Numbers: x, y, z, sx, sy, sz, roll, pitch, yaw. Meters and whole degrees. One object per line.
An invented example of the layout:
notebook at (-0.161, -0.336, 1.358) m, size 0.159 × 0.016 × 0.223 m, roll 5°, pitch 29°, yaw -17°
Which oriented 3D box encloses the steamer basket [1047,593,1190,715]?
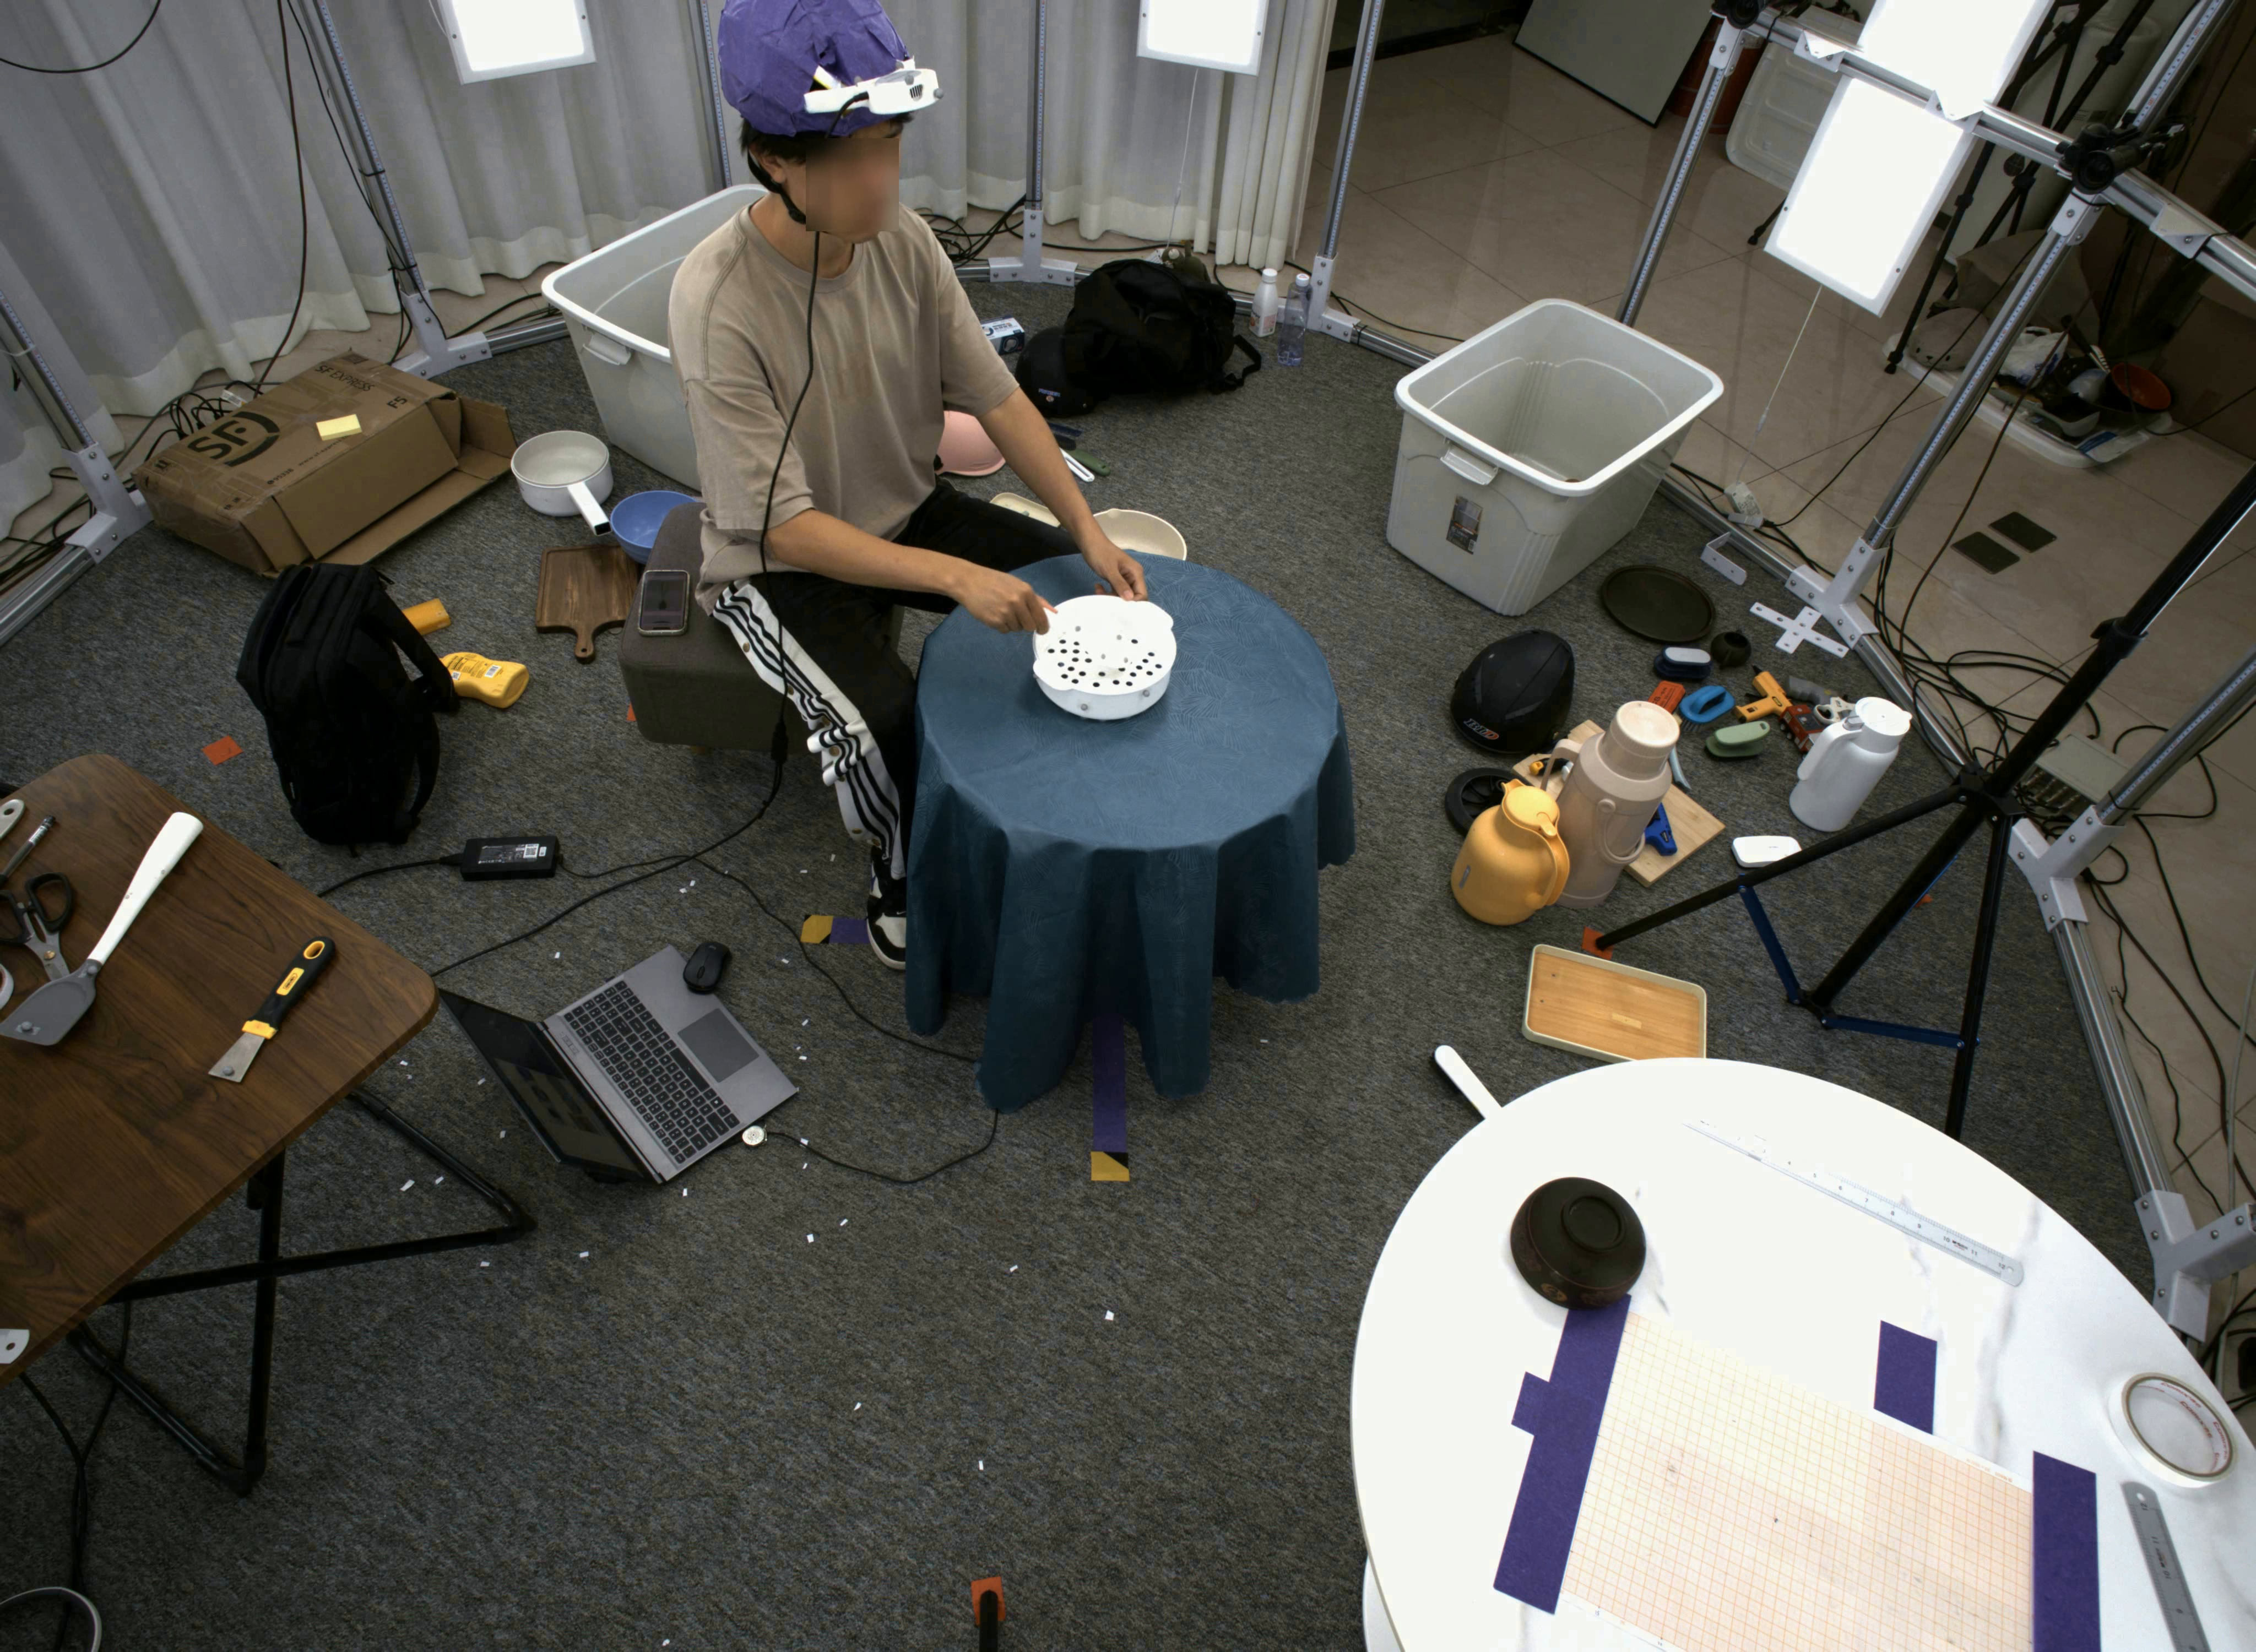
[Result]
steamer basket at (-0.016, -0.243, 1.822) m, size 0.232 × 0.067 × 0.205 m, roll -32°, pitch 59°, yaw -32°

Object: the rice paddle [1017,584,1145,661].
rice paddle at (-0.058, -0.283, 1.783) m, size 0.203 × 0.029 × 0.070 m, roll 20°, pitch 55°, yaw -29°
